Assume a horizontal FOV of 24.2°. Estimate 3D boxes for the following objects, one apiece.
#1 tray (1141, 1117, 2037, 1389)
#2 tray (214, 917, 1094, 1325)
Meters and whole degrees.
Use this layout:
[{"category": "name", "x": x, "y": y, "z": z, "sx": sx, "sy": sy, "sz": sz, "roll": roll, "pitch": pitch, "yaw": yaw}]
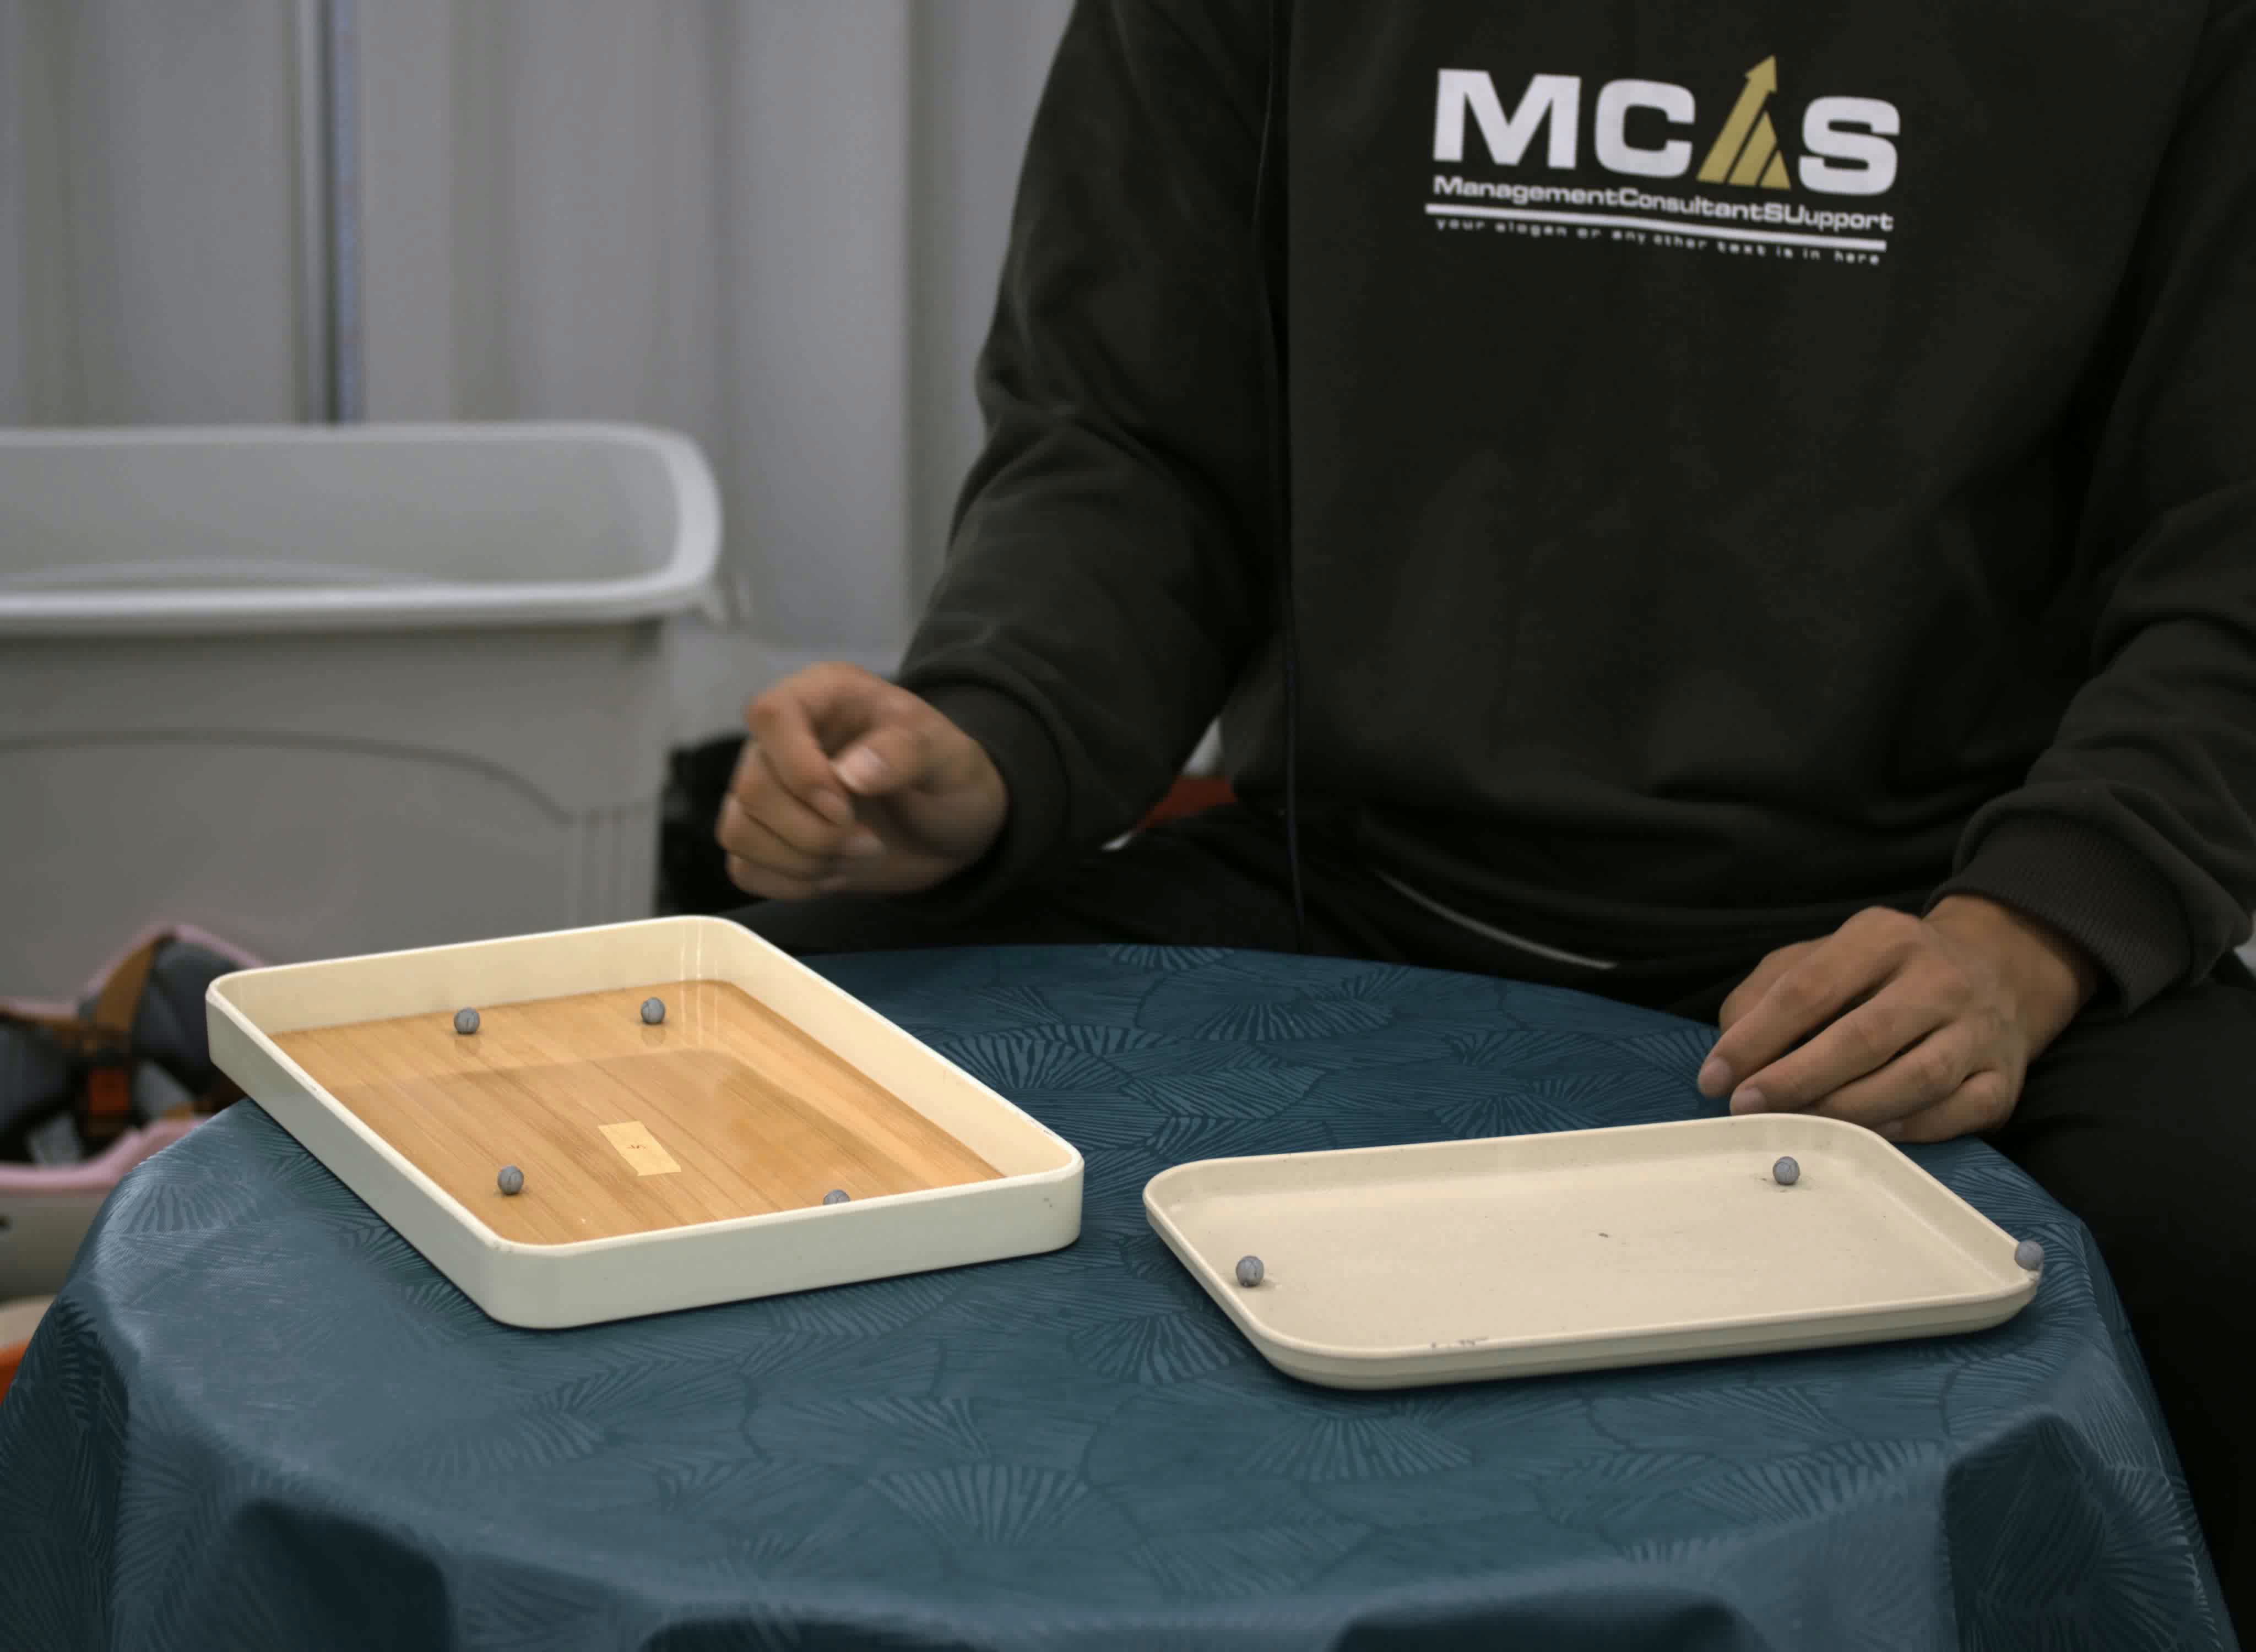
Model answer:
[{"category": "tray", "x": 0.134, "y": 0.126, "z": 1.559, "sx": 0.240, "sy": 0.017, "sz": 0.169, "roll": -4, "pitch": 15, "yaw": -17}, {"category": "tray", "x": -0.155, "y": 0.088, "z": 1.659, "sx": 0.192, "sy": 0.027, "sz": 0.296, "roll": -7, "pitch": 17, "yaw": -27}]
